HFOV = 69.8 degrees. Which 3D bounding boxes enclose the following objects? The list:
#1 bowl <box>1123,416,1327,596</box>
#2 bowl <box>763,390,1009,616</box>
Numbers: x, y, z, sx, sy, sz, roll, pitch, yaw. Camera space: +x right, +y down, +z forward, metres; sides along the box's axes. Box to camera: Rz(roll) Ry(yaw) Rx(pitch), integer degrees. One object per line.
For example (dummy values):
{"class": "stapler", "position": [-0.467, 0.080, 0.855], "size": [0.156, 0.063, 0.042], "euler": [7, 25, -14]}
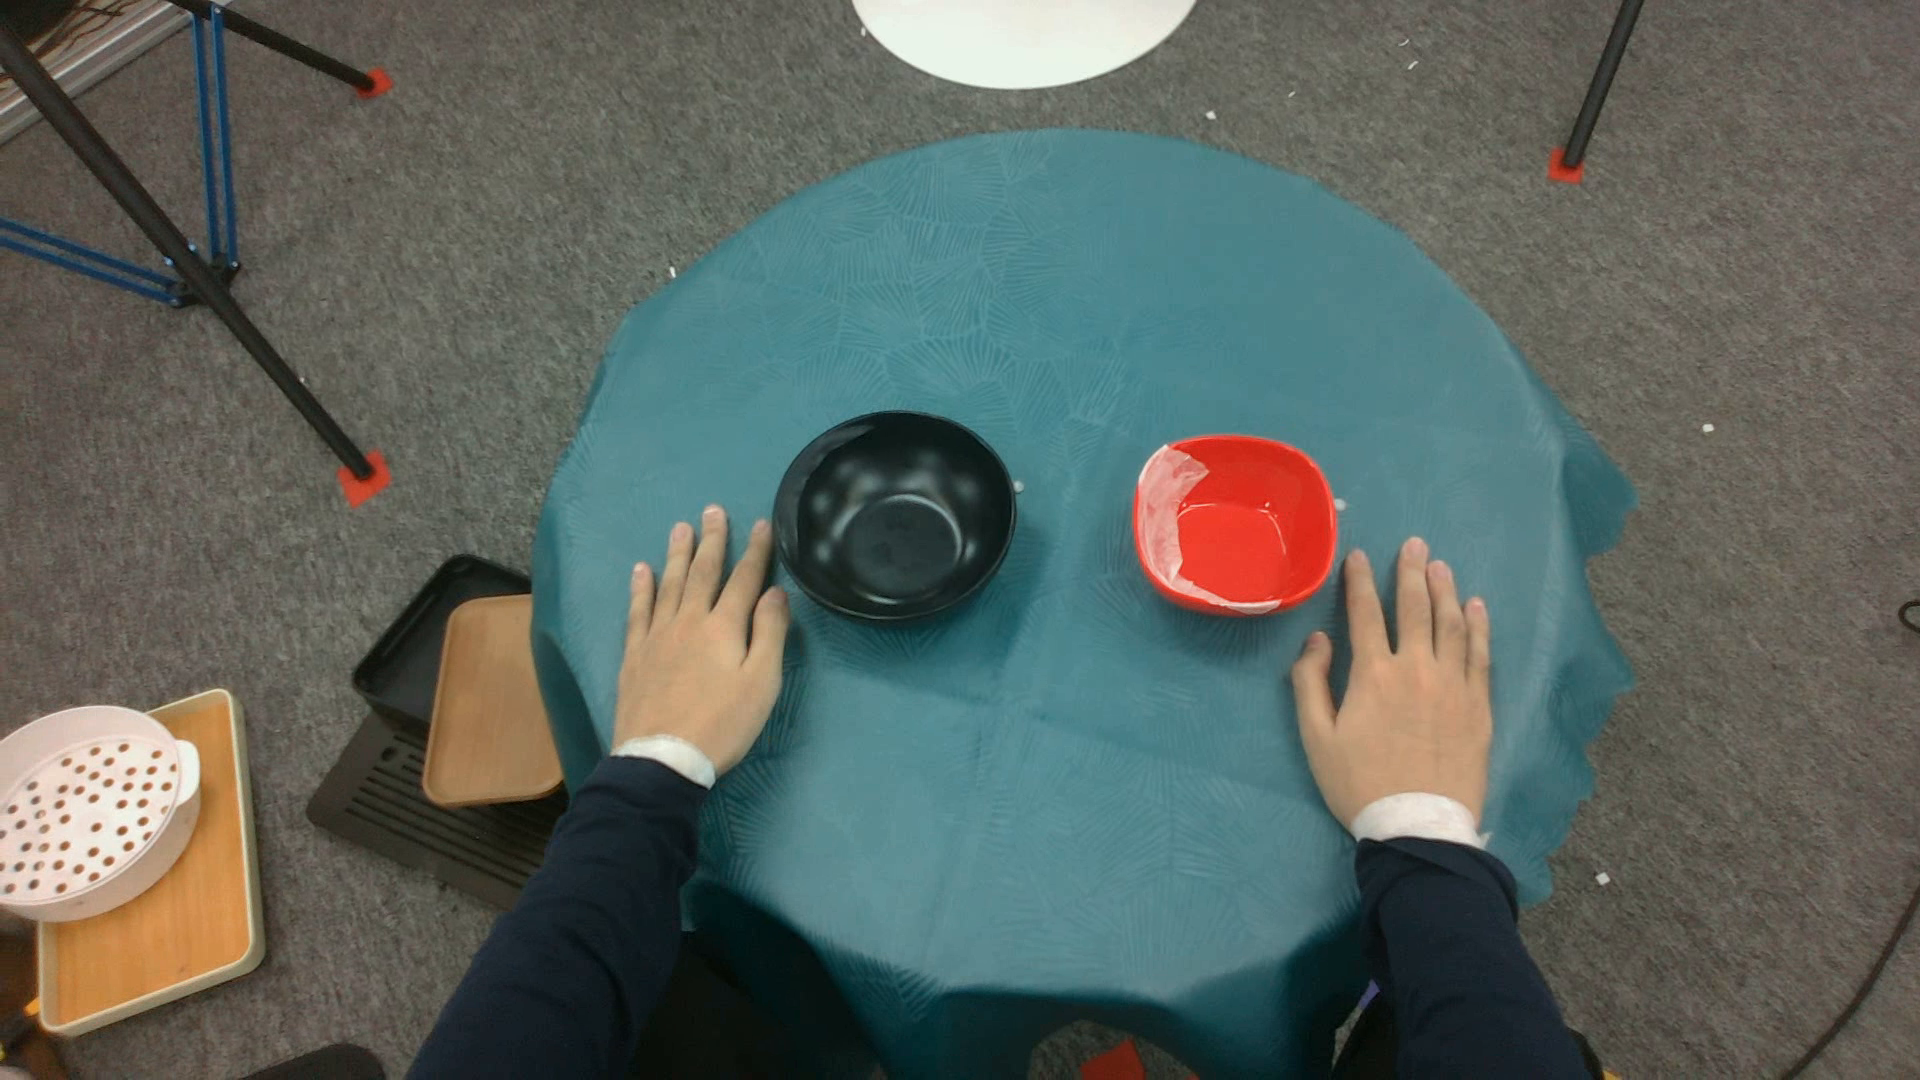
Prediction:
{"class": "bowl", "position": [0.145, -0.011, 0.771], "size": [0.119, 0.051, 0.119], "euler": [-1, 58, 2]}
{"class": "bowl", "position": [-0.040, -0.015, 0.790], "size": [0.140, 0.049, 0.140], "euler": [-2, 64, 3]}
